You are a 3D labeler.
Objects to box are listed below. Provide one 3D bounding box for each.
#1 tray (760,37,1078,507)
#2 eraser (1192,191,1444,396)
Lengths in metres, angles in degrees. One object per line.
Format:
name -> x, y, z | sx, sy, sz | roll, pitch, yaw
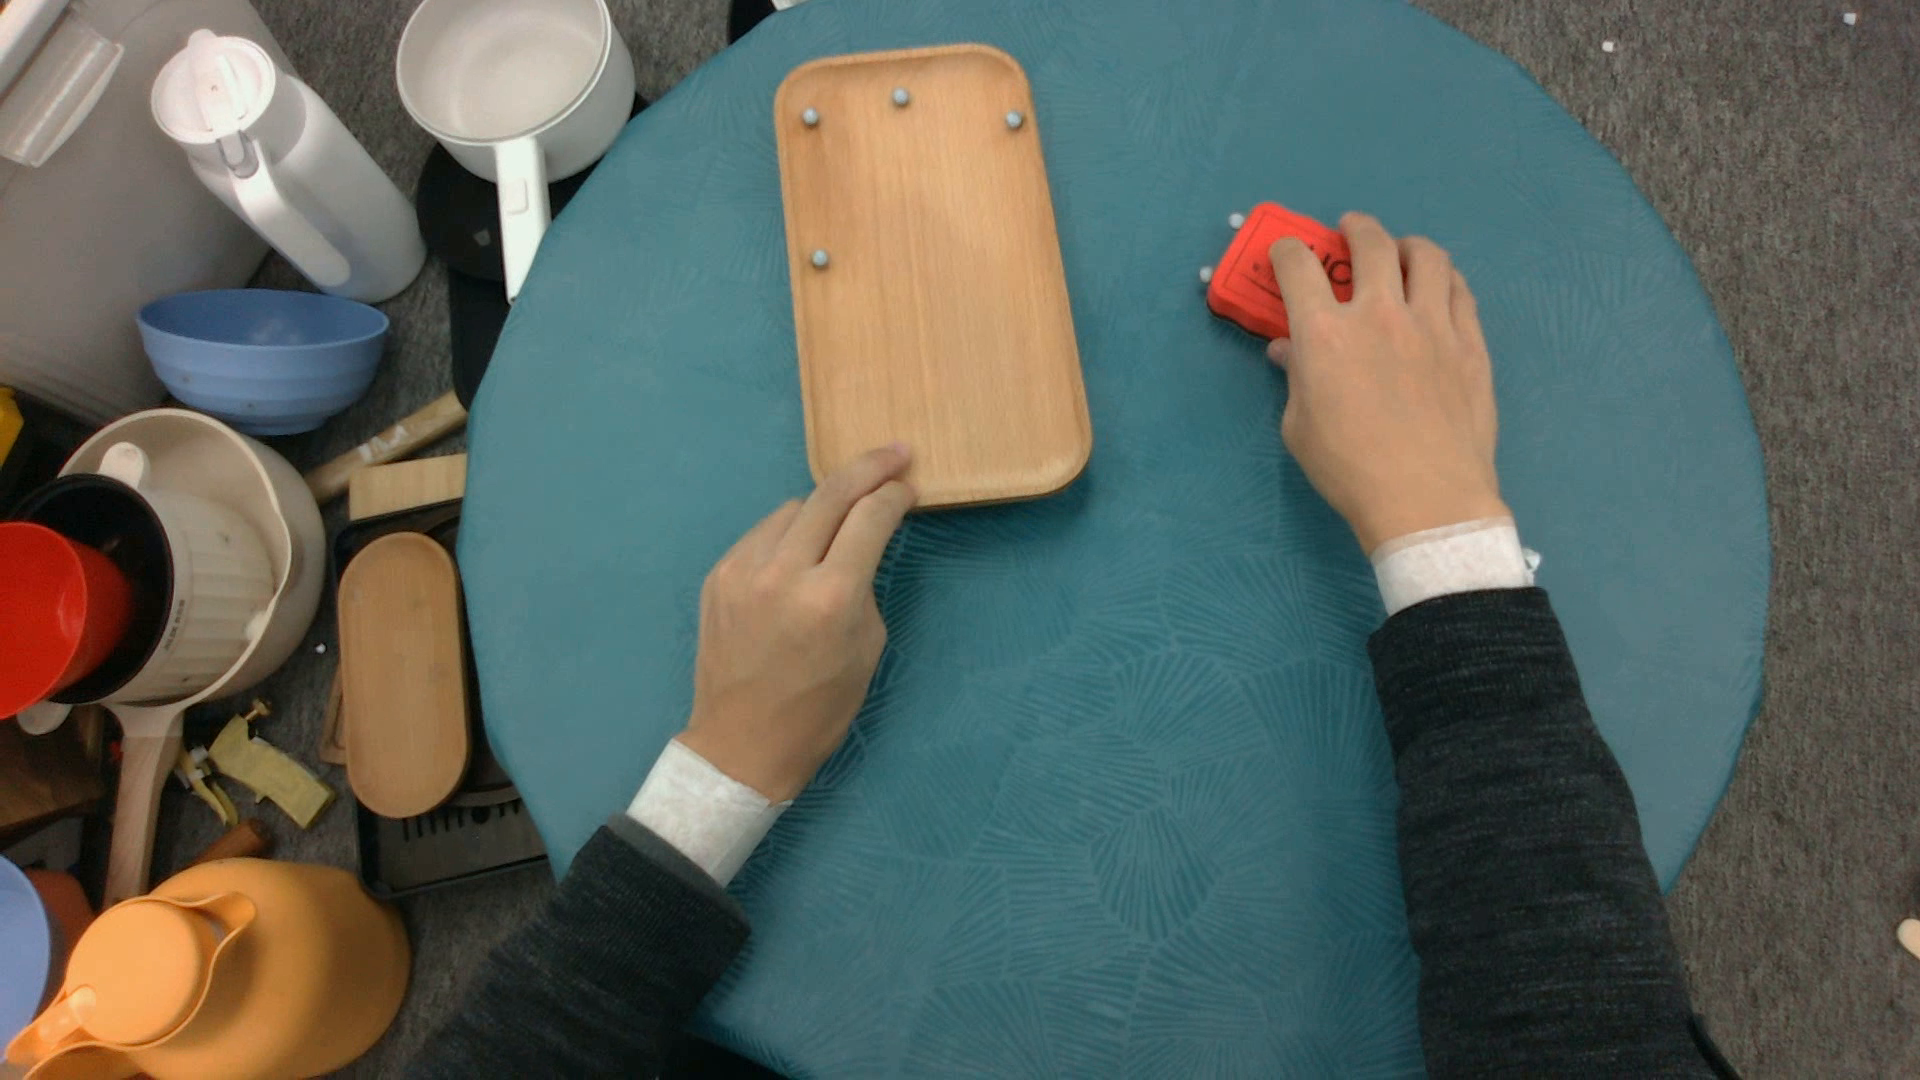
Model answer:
tray -> -0.023, -0.132, 0.648 | 0.130, 0.023, 0.251 | -6, 68, -2
eraser -> 0.167, -0.117, 0.648 | 0.108, 0.023, 0.059 | 30, 78, 10
